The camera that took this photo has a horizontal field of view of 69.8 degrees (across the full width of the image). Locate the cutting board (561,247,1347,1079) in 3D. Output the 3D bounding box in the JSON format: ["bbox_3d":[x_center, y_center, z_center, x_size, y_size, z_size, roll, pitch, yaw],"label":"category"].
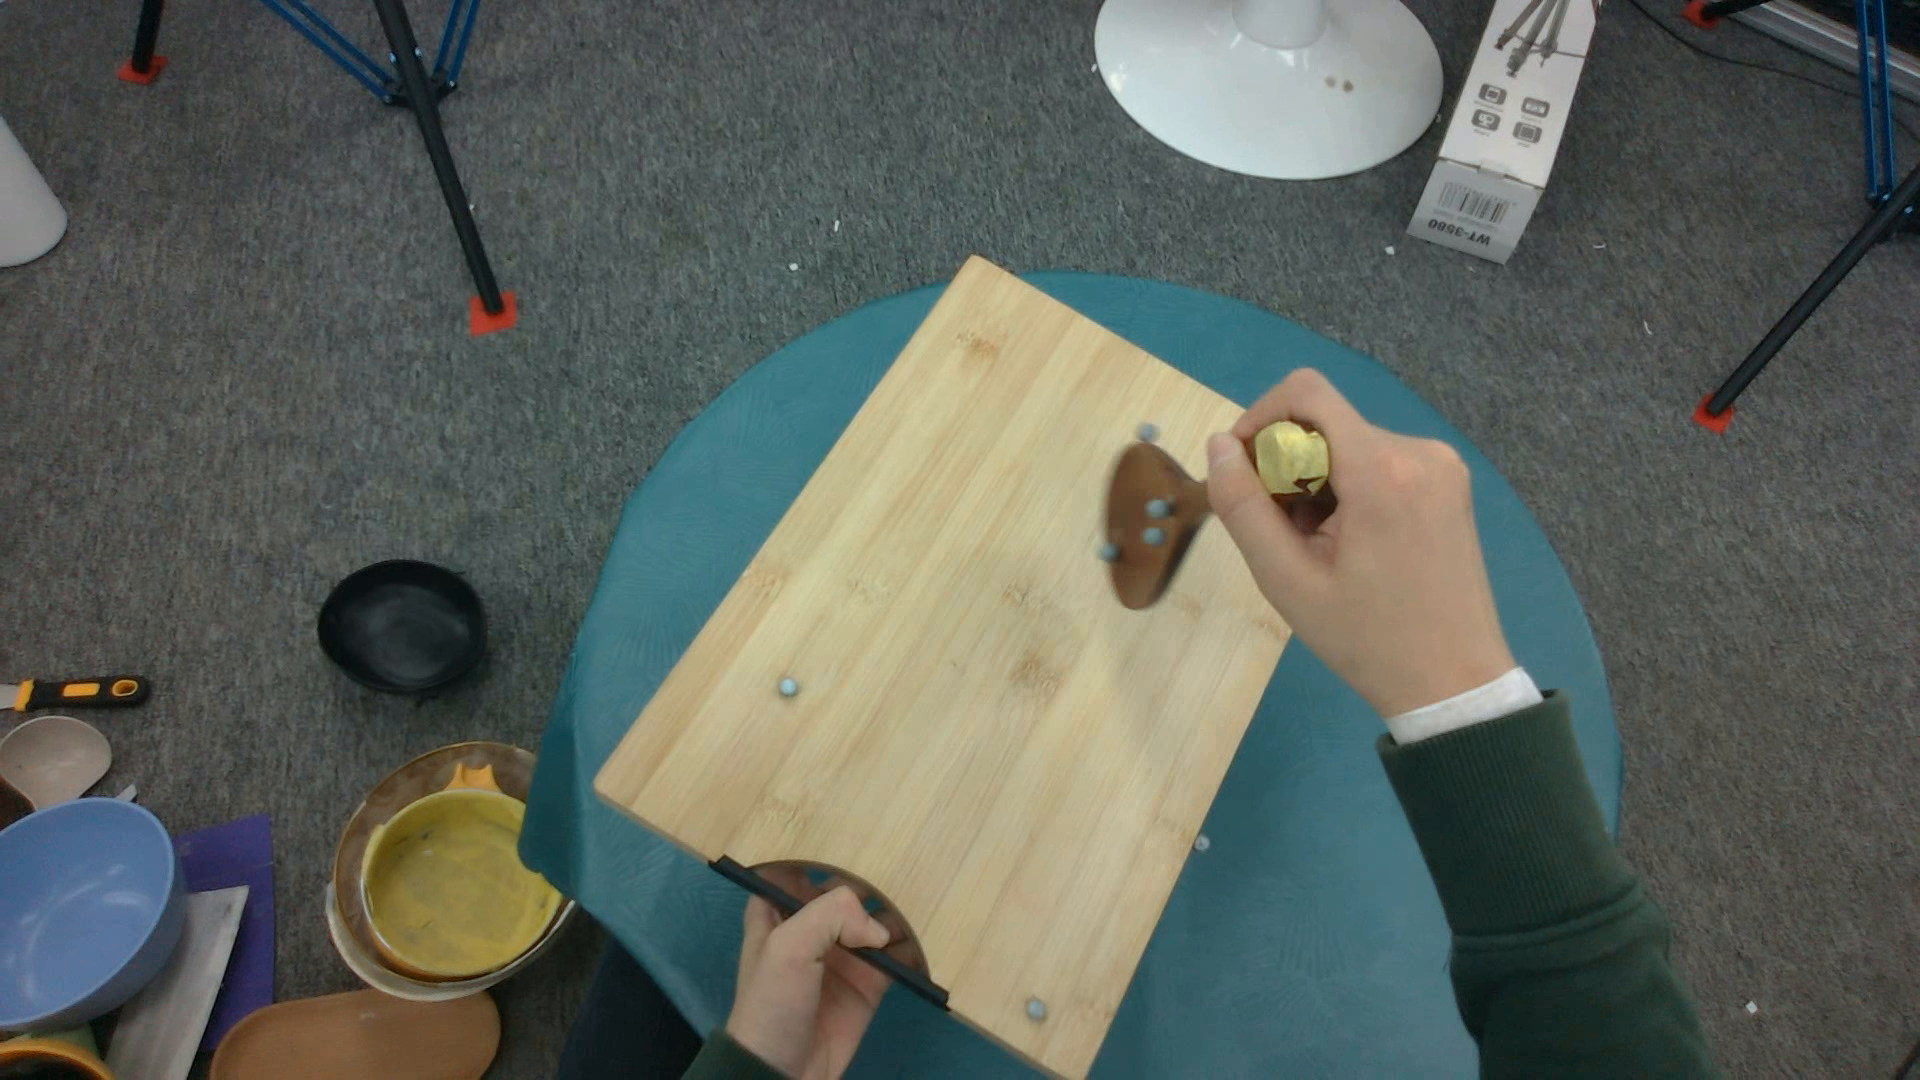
[{"bbox_3d":[0.018,0.038,0.656,0.251,0.023,0.350,29,63,3],"label":"cutting board"}]

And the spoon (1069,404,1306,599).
[{"bbox_3d":[0.079,-0.019,0.525,0.017,0.215,0.075,0,84,-12],"label":"spoon"}]
